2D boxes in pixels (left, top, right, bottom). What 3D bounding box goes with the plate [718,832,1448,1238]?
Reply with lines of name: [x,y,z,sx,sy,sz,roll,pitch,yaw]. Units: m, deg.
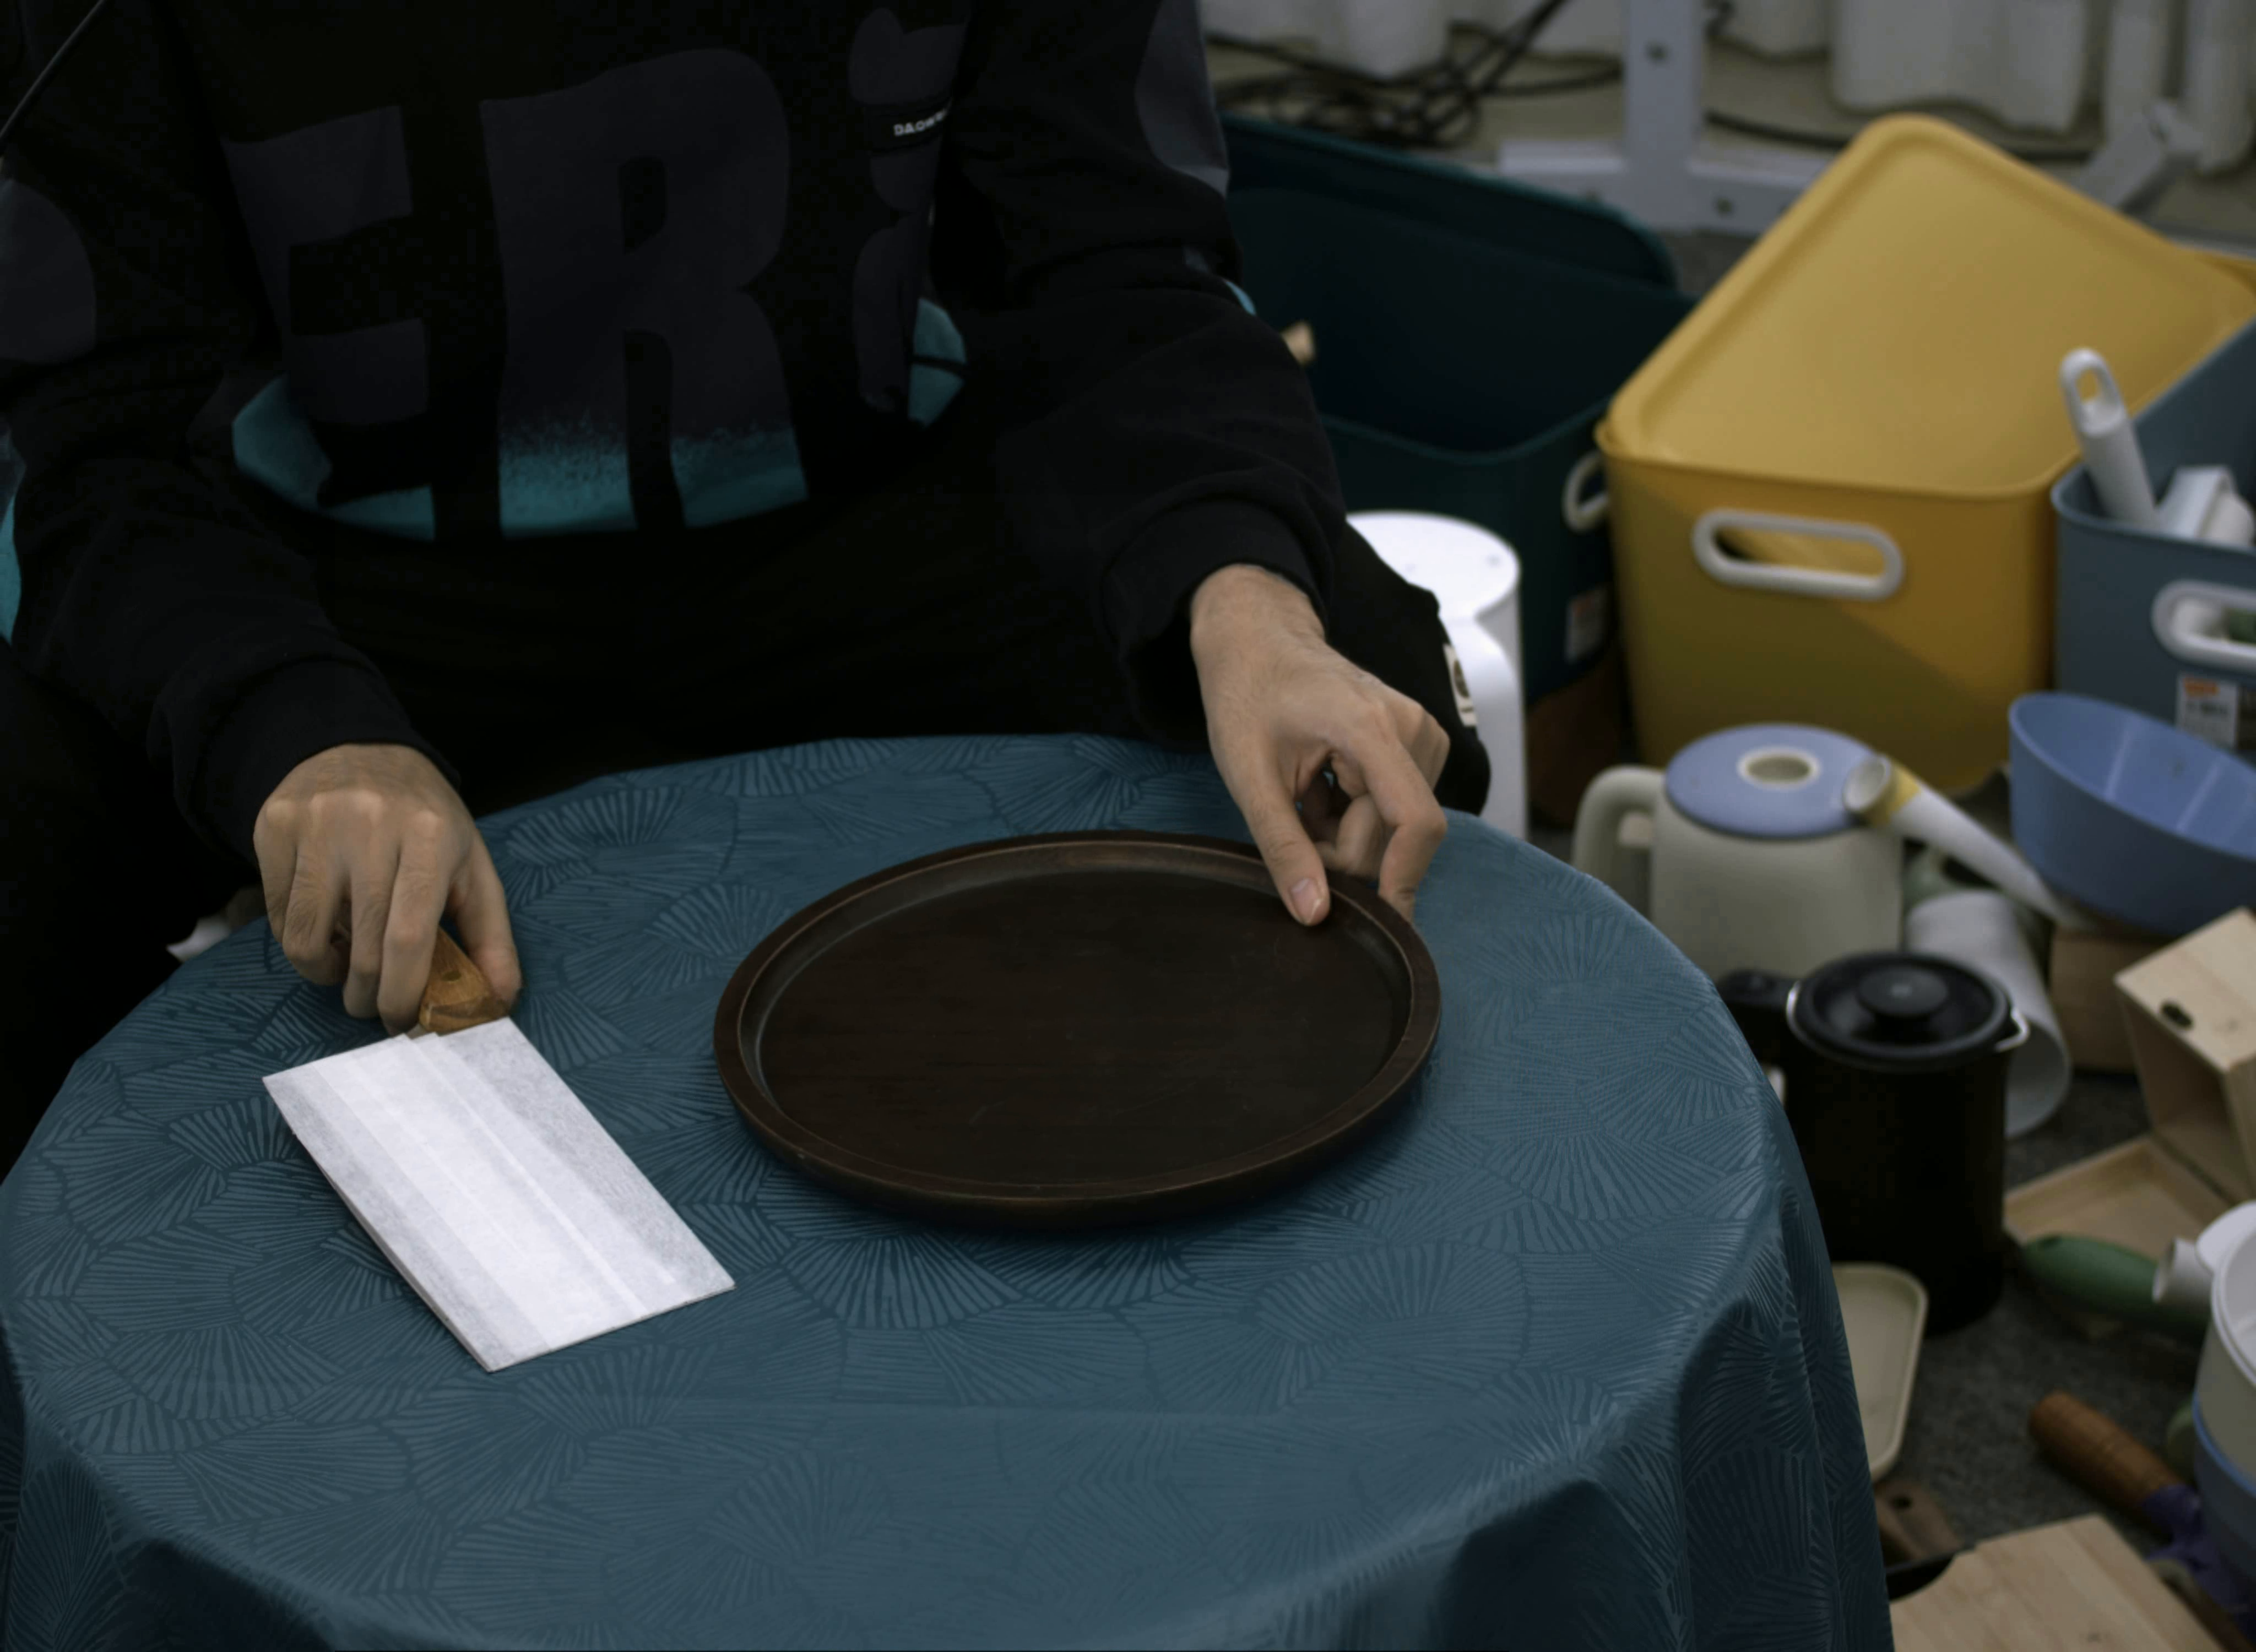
plate: [-0.016,0.070,1.936,0.253,0.029,0.259,-1,28,1]

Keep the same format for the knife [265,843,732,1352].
knife: [-0.239,0.092,1.913,0.093,0.021,0.308,-17,36,-24]
